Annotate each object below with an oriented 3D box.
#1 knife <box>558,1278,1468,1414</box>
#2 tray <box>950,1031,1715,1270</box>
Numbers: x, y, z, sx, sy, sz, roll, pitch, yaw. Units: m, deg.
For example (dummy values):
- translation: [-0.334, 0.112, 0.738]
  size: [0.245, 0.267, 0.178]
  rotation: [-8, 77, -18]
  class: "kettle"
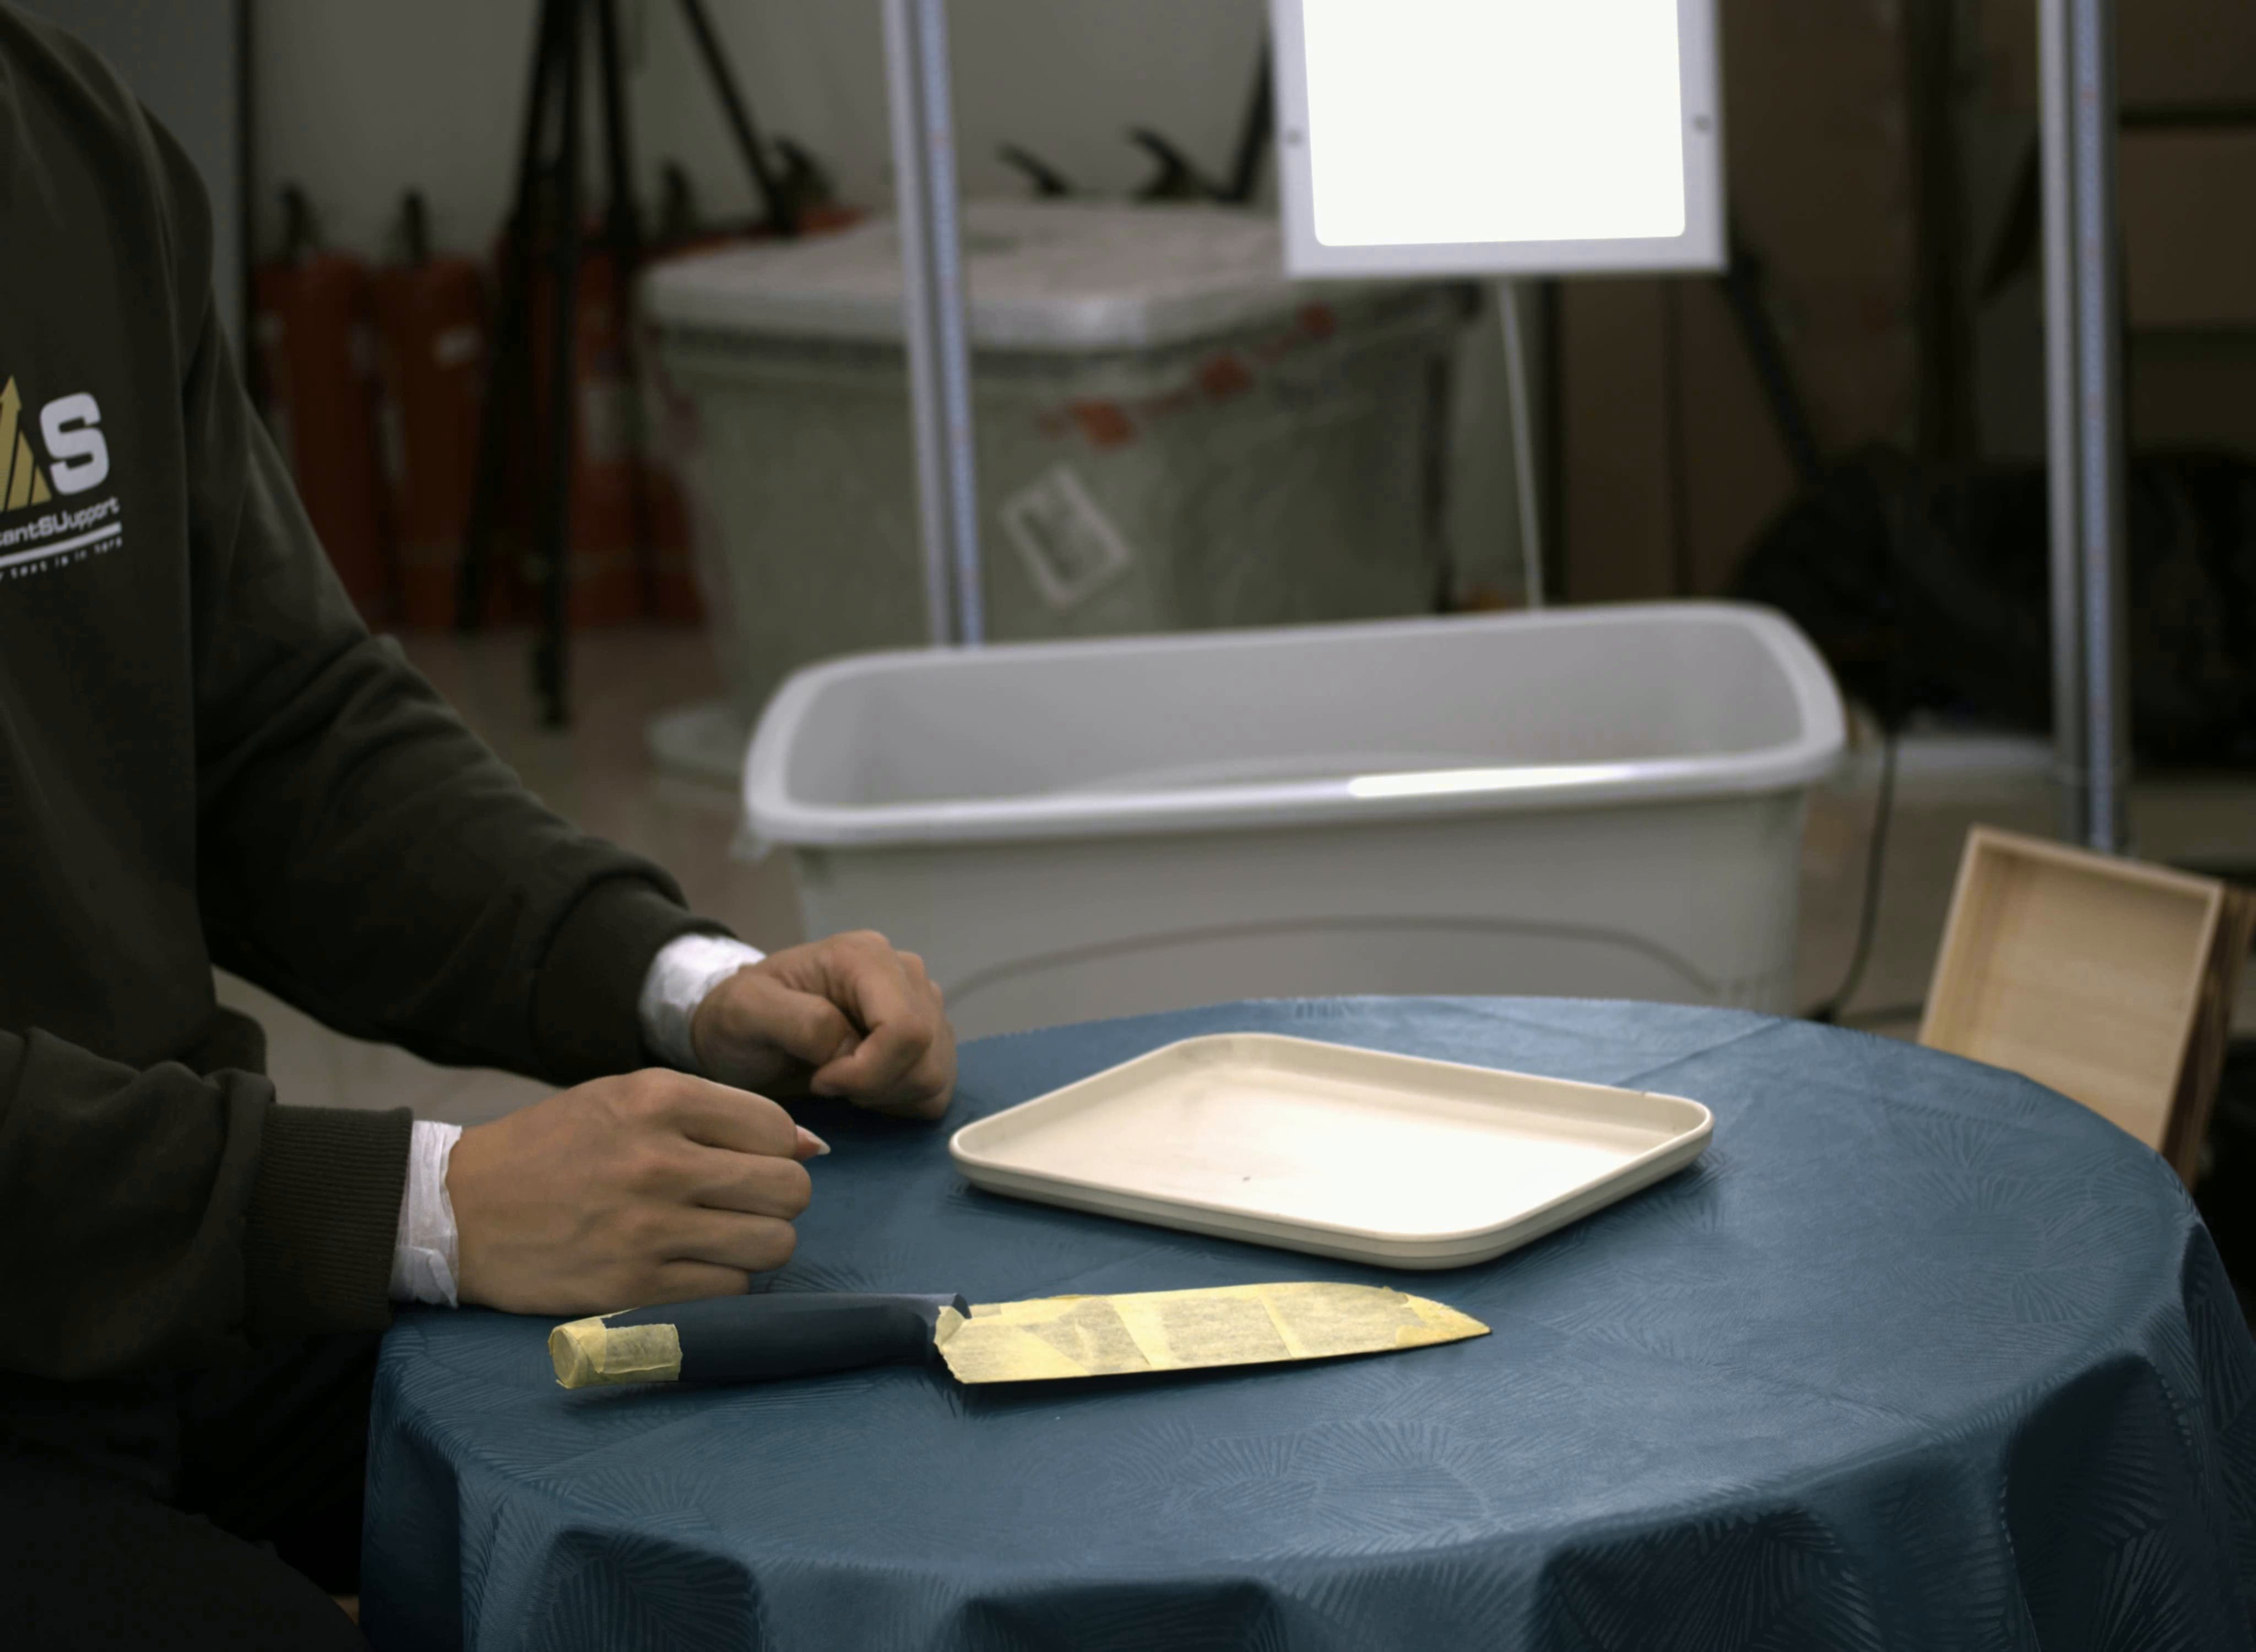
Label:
- translation: [-0.035, 0.163, 1.734]
  size: [0.288, 0.027, 0.081]
  rotation: [-5, 12, -3]
  class: "knife"
- translation: [0.070, 0.111, 1.901]
  size: [0.245, 0.017, 0.167]
  rotation: [7, 19, 42]
  class: "tray"
